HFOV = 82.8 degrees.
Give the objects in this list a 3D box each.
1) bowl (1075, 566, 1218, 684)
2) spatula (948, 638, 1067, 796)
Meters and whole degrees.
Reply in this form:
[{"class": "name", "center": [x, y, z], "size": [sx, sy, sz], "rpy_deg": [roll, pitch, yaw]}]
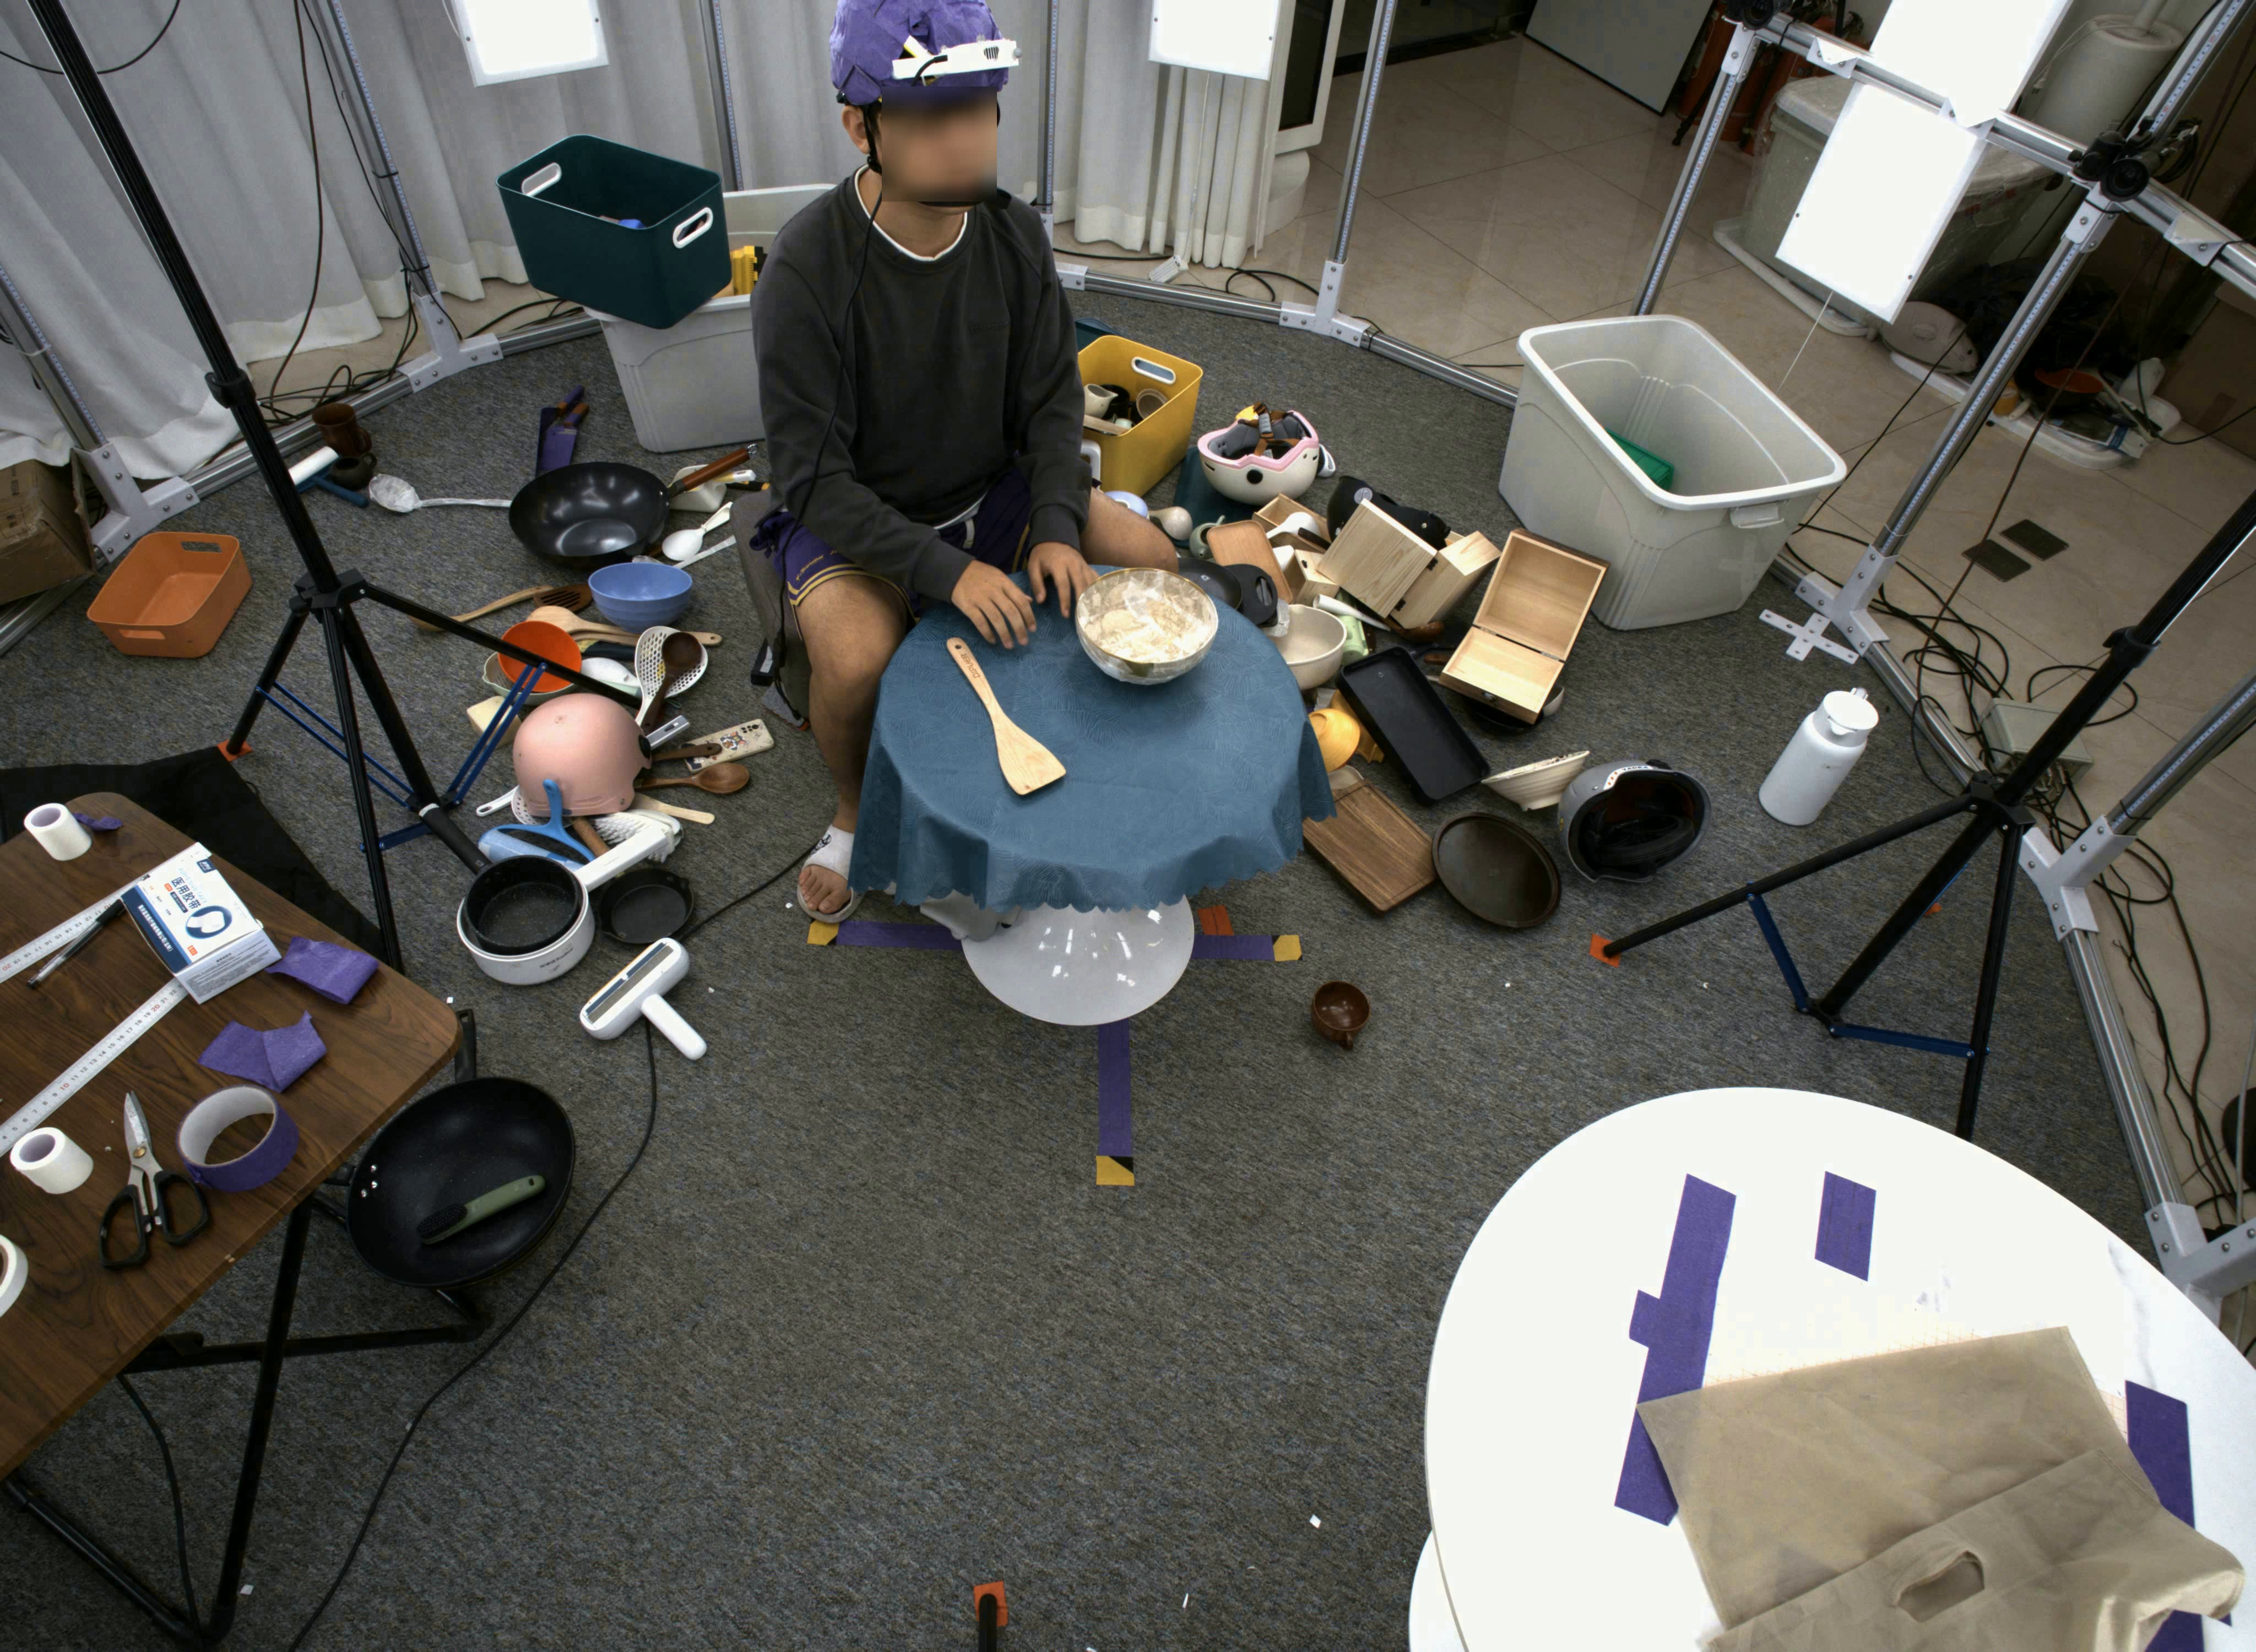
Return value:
[{"class": "bowl", "center": [0.022, -0.276, 1.846], "size": [0.214, 0.092, 0.220], "rpy_deg": [2, 50, -3]}, {"class": "spatula", "center": [-0.181, -0.161, 1.783], "size": [0.080, 0.016, 0.335], "rpy_deg": [-19, 52, -18]}]
